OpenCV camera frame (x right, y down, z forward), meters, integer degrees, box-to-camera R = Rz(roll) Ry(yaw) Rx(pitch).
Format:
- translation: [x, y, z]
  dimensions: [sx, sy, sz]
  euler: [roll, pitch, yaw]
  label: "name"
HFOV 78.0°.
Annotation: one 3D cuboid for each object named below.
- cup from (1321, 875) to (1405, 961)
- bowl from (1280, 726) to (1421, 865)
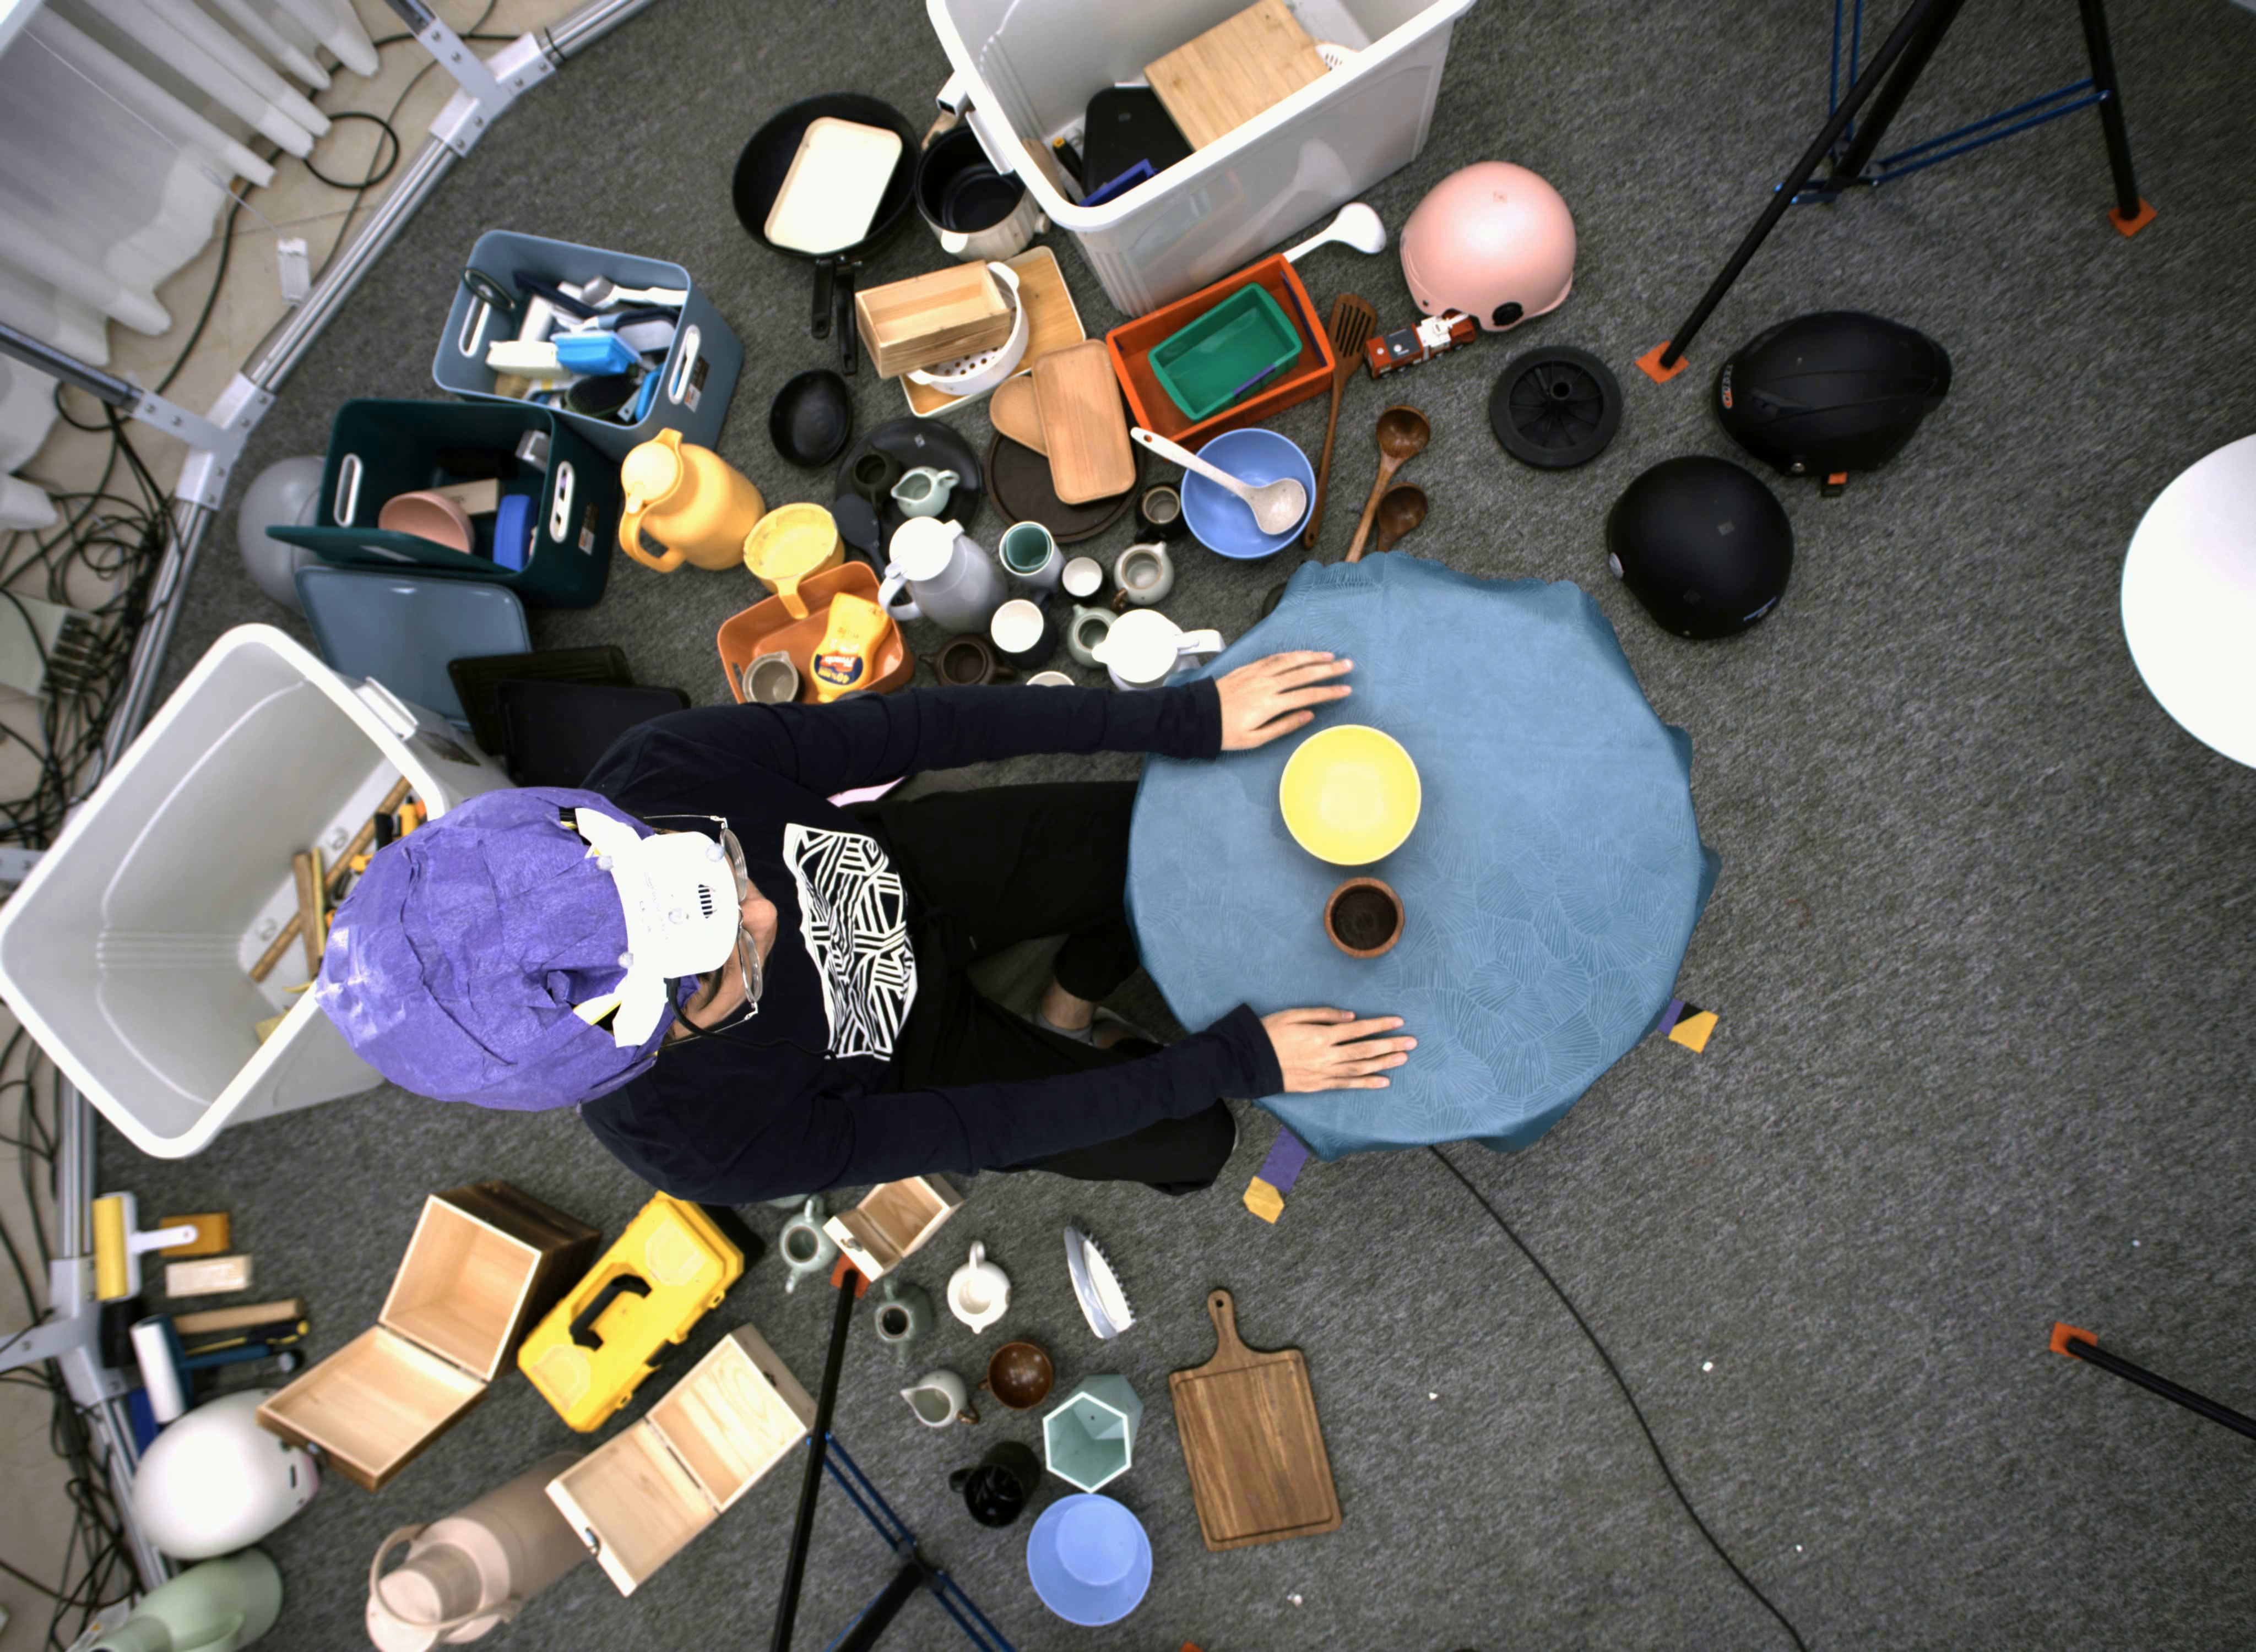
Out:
- translation: [0.240, 0.096, 1.404]
  dimensions: [0.088, 0.118, 0.087]
  euler: [-1, 83, 11]
  label: "cup"
- translation: [0.233, -0.029, 1.442]
  dimensions: [0.146, 0.060, 0.144]
  euler: [-1, 86, 12]
  label: "bowl"
